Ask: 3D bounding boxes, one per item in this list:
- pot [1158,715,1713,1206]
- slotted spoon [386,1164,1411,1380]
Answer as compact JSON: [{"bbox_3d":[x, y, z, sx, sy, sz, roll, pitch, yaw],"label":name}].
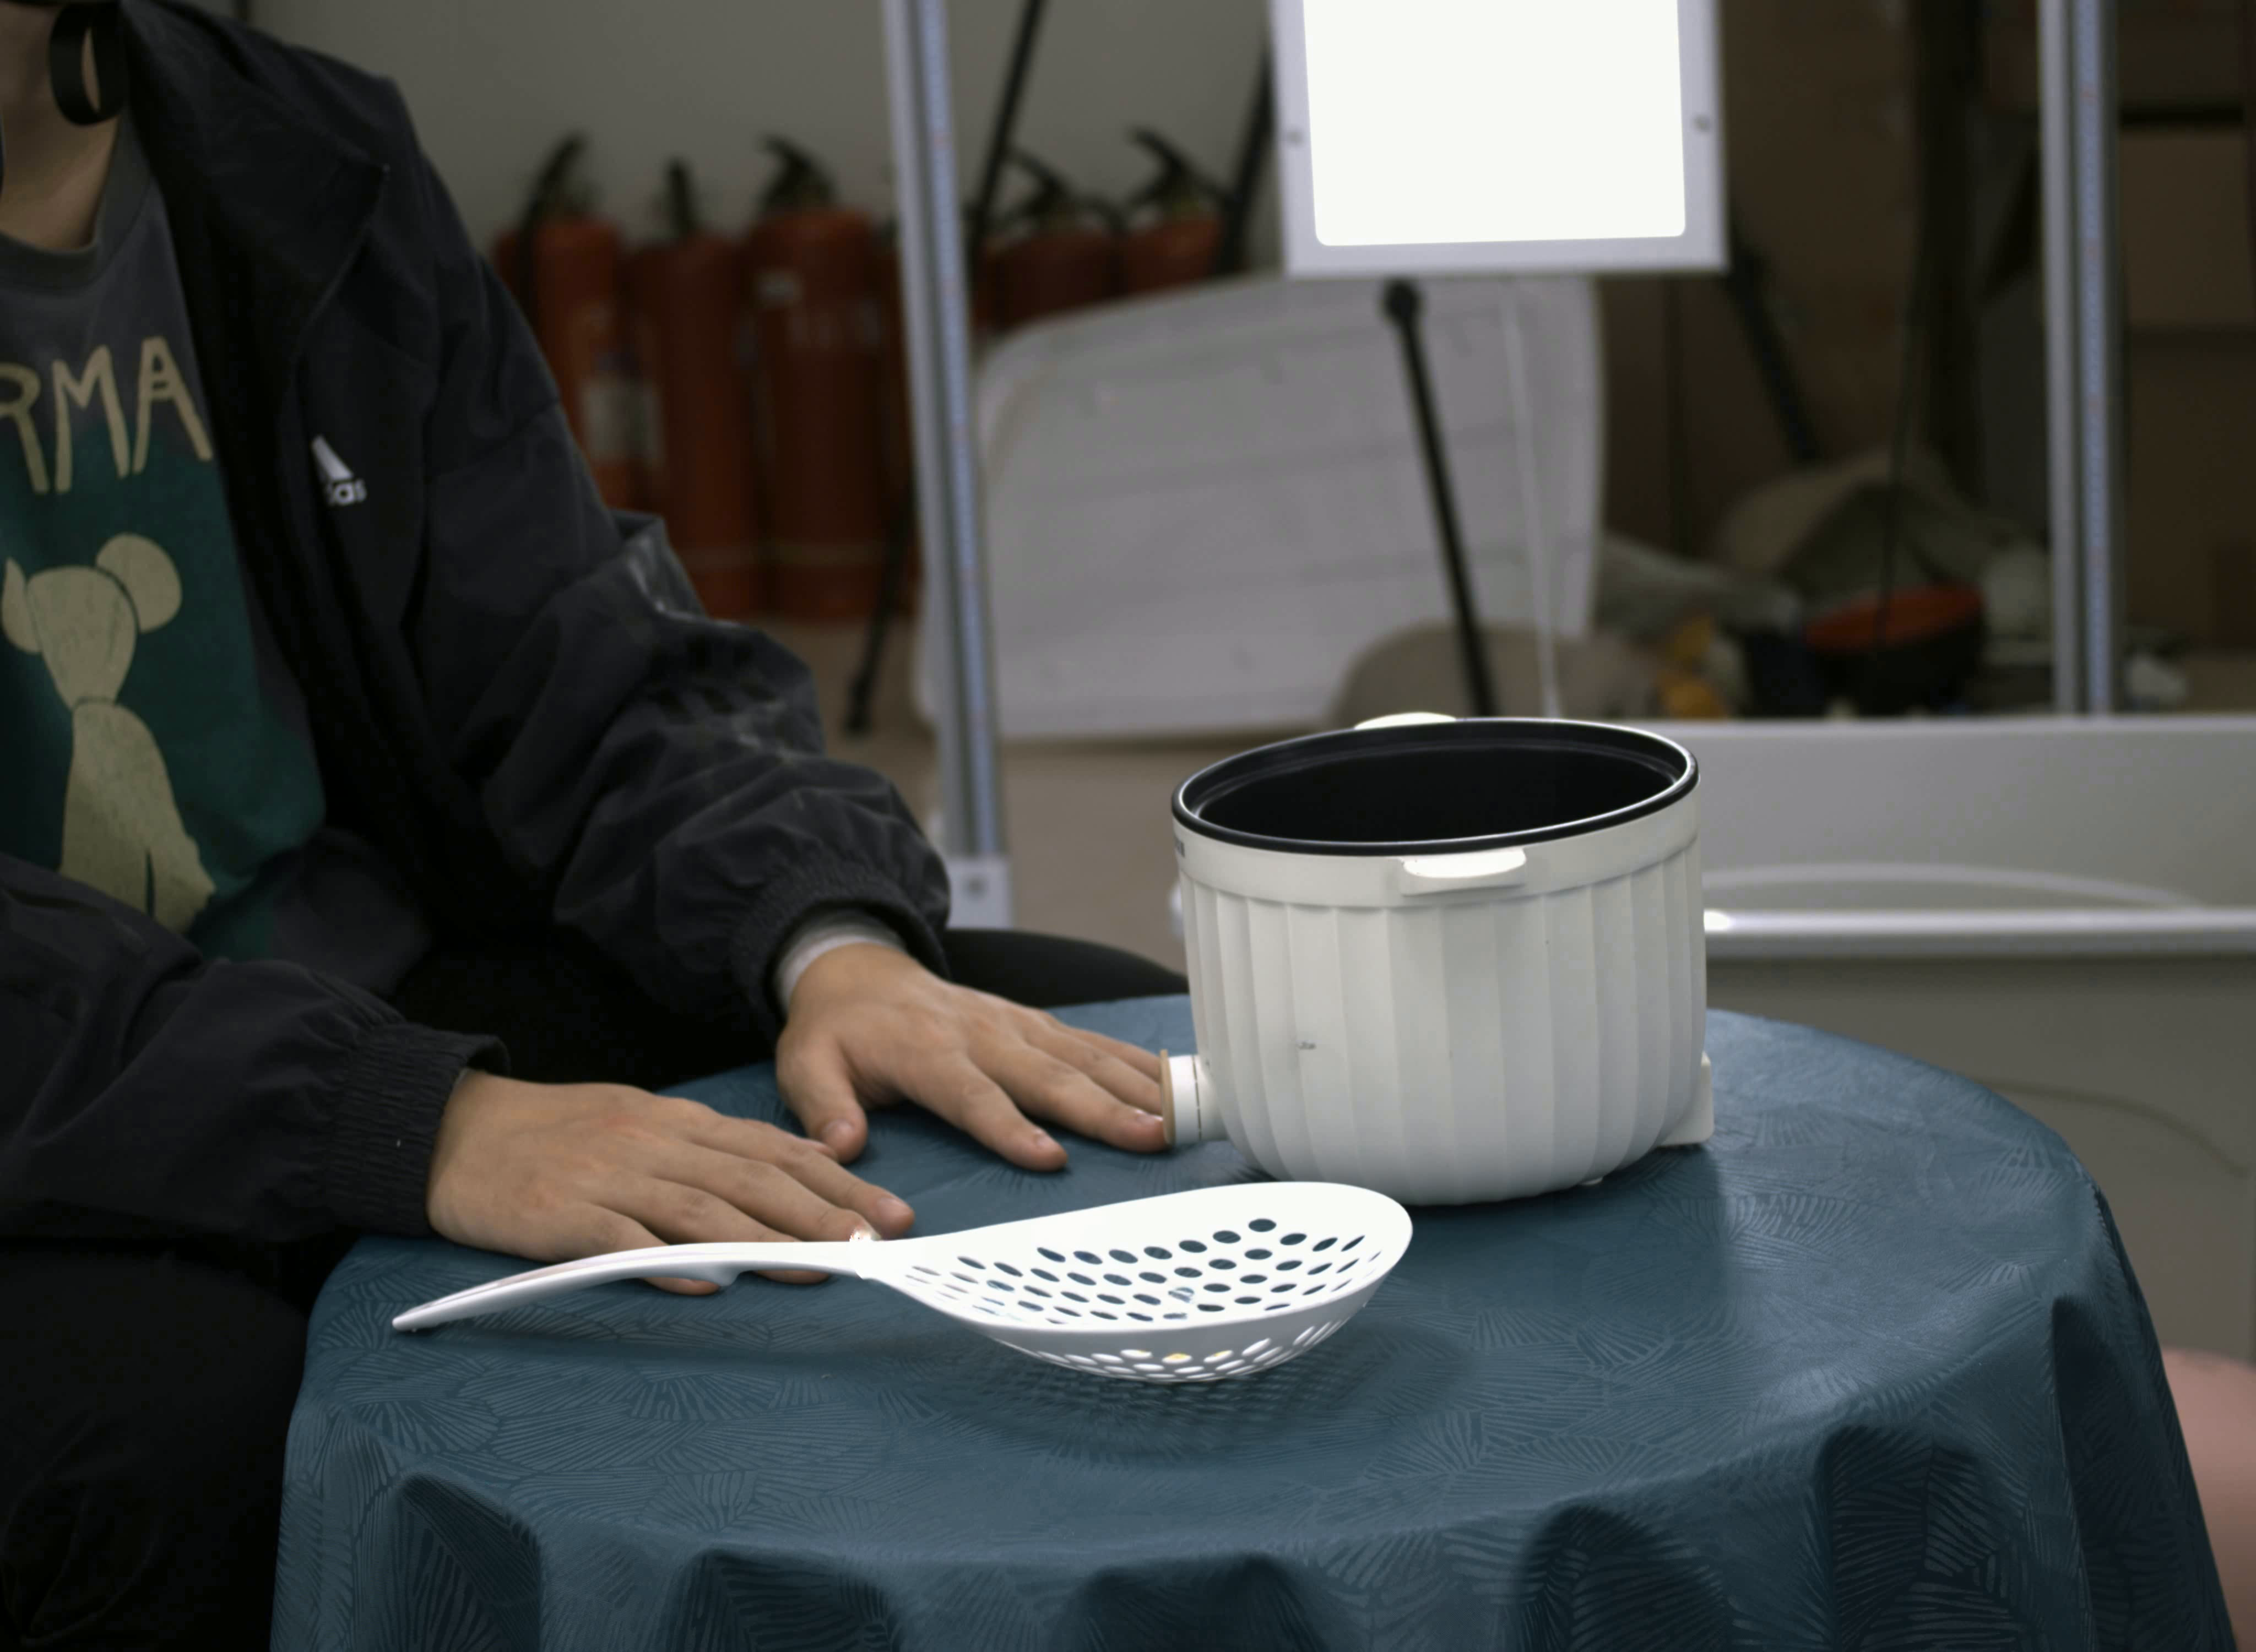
[{"bbox_3d":[0.105,0.049,1.886,0.190,0.143,0.240,-2,12,-2],"label":"pot"},{"bbox_3d":[-0.079,0.147,1.753,0.353,0.050,0.134,1,16,22],"label":"slotted spoon"}]
